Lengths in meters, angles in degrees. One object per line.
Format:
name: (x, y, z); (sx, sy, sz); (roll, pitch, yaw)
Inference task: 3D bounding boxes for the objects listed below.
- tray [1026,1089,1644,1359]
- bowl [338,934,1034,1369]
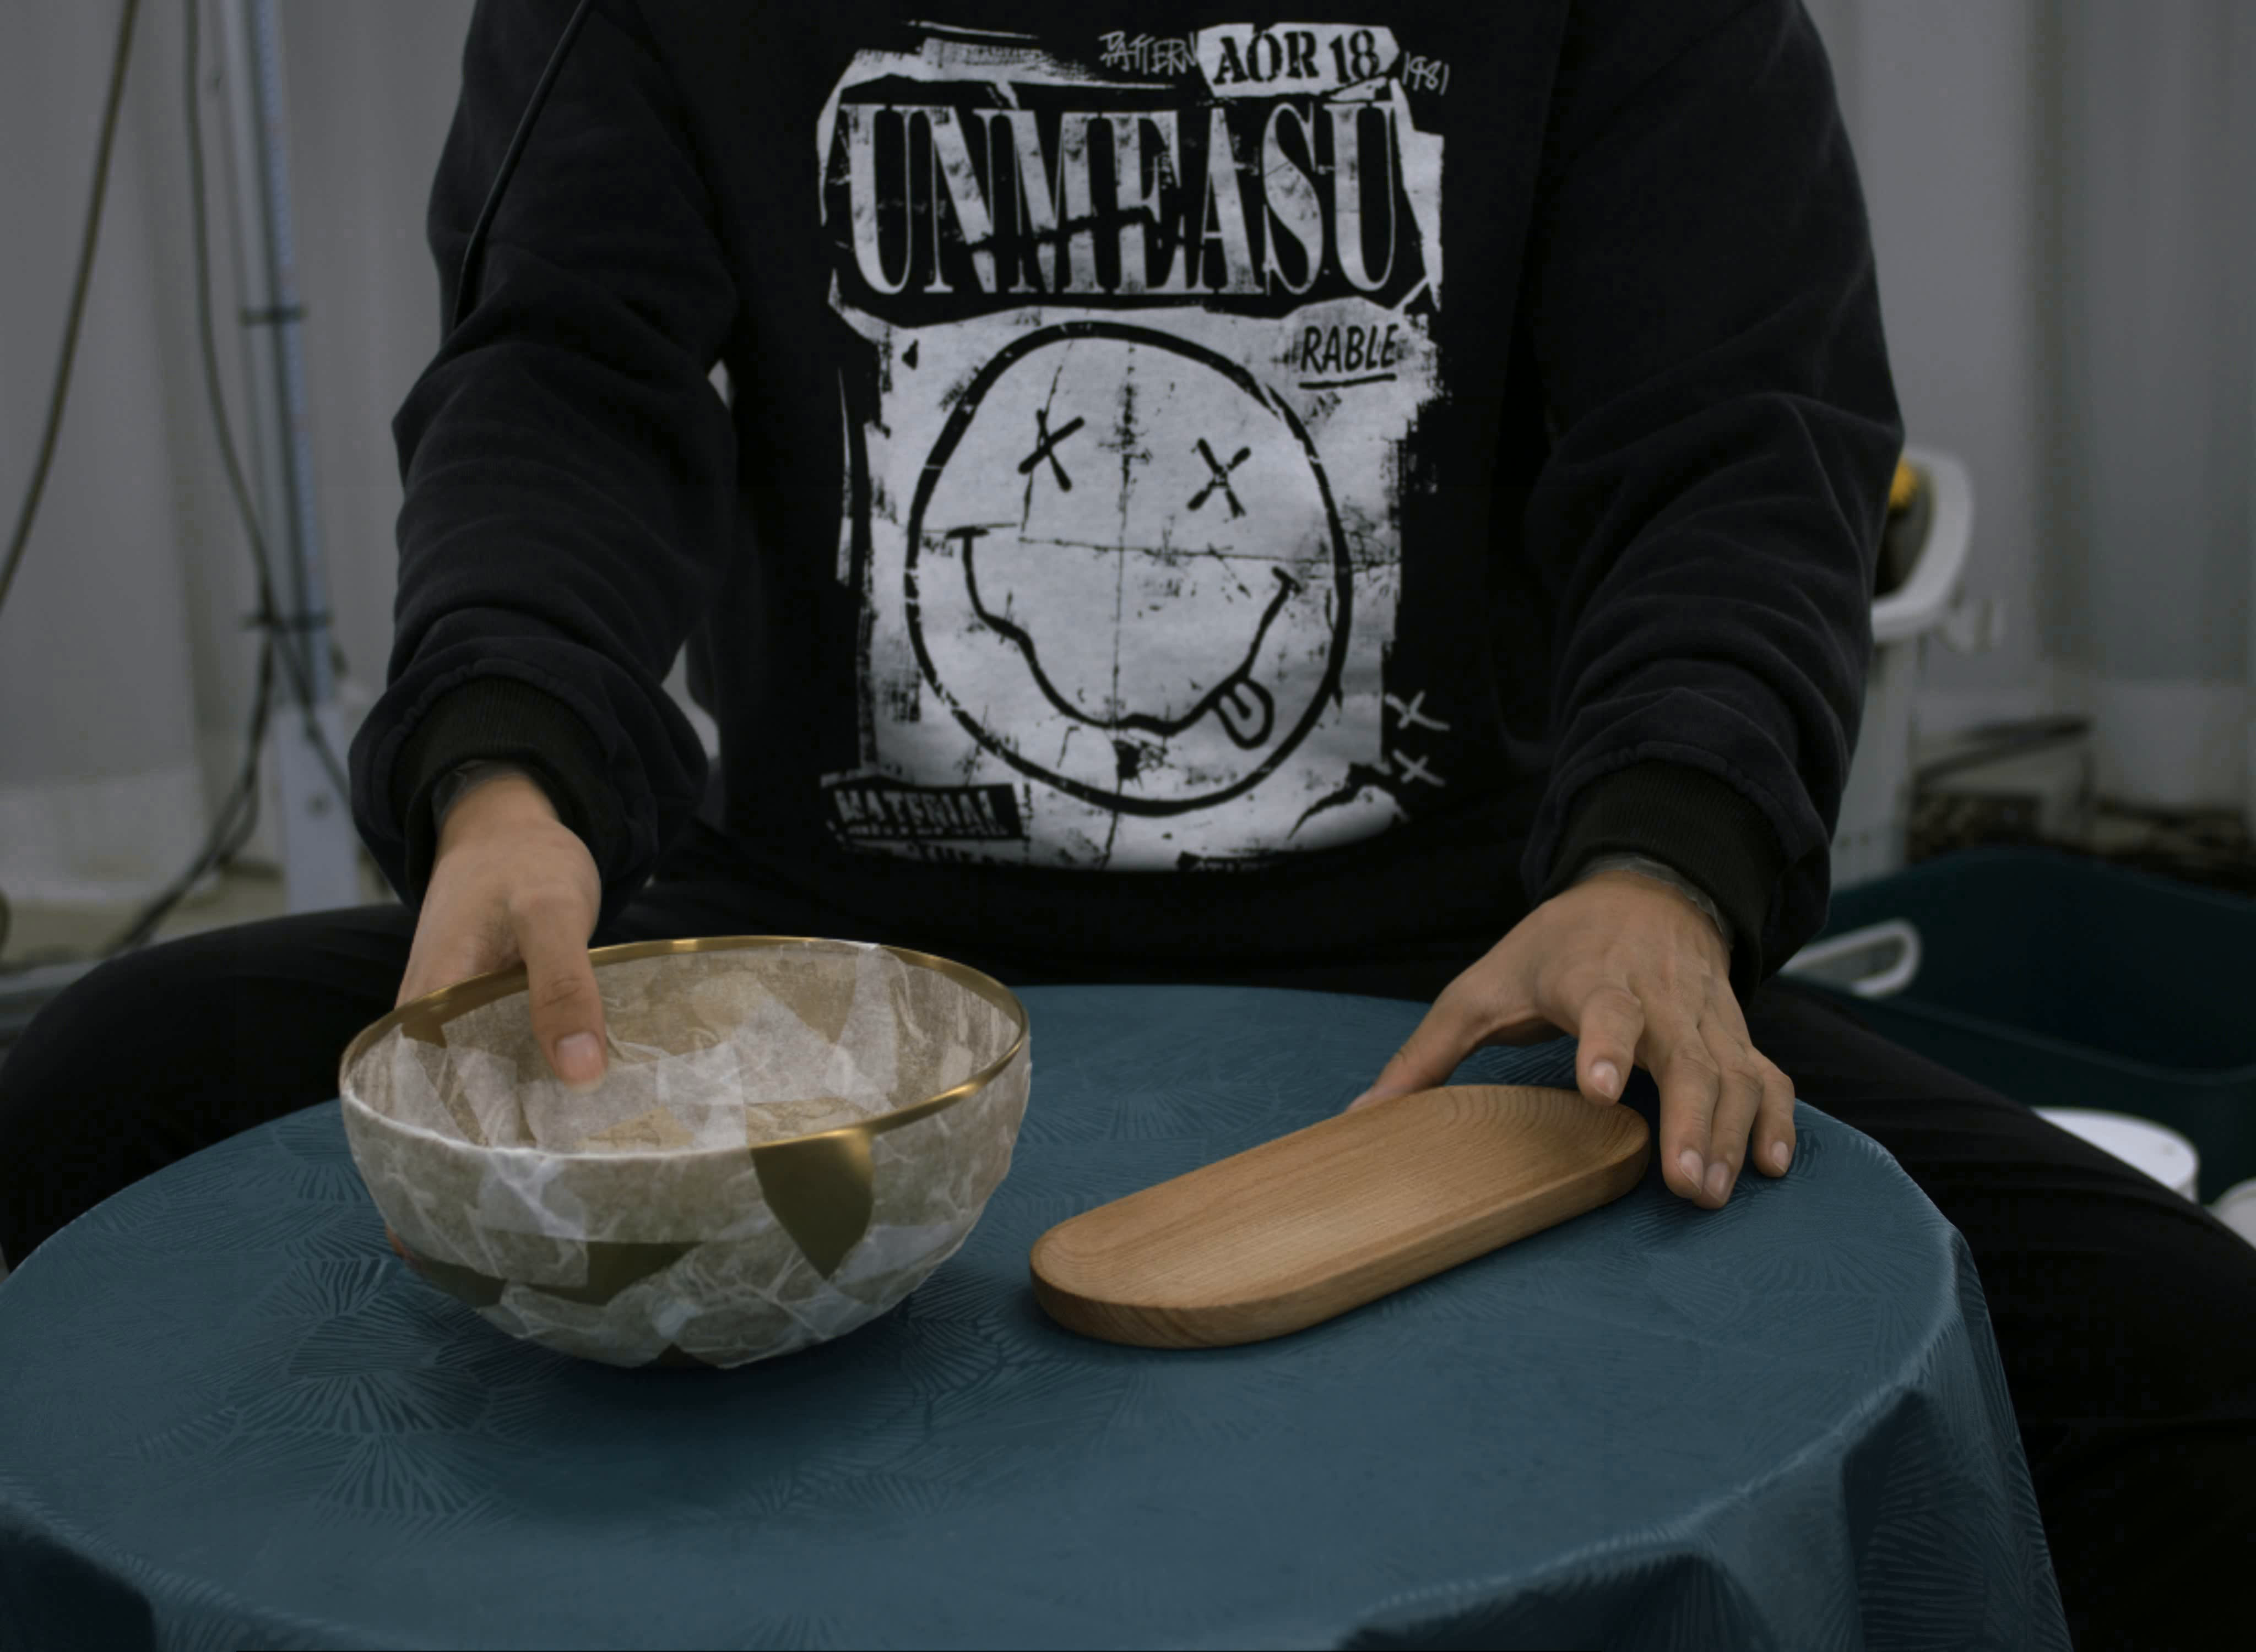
tray: (0.065, 0.119, 1.658); (0.102, 0.020, 0.231); (8, 20, 43)
bowl: (-0.123, 0.103, 1.602); (0.214, 0.094, 0.216); (-3, 15, 1)
